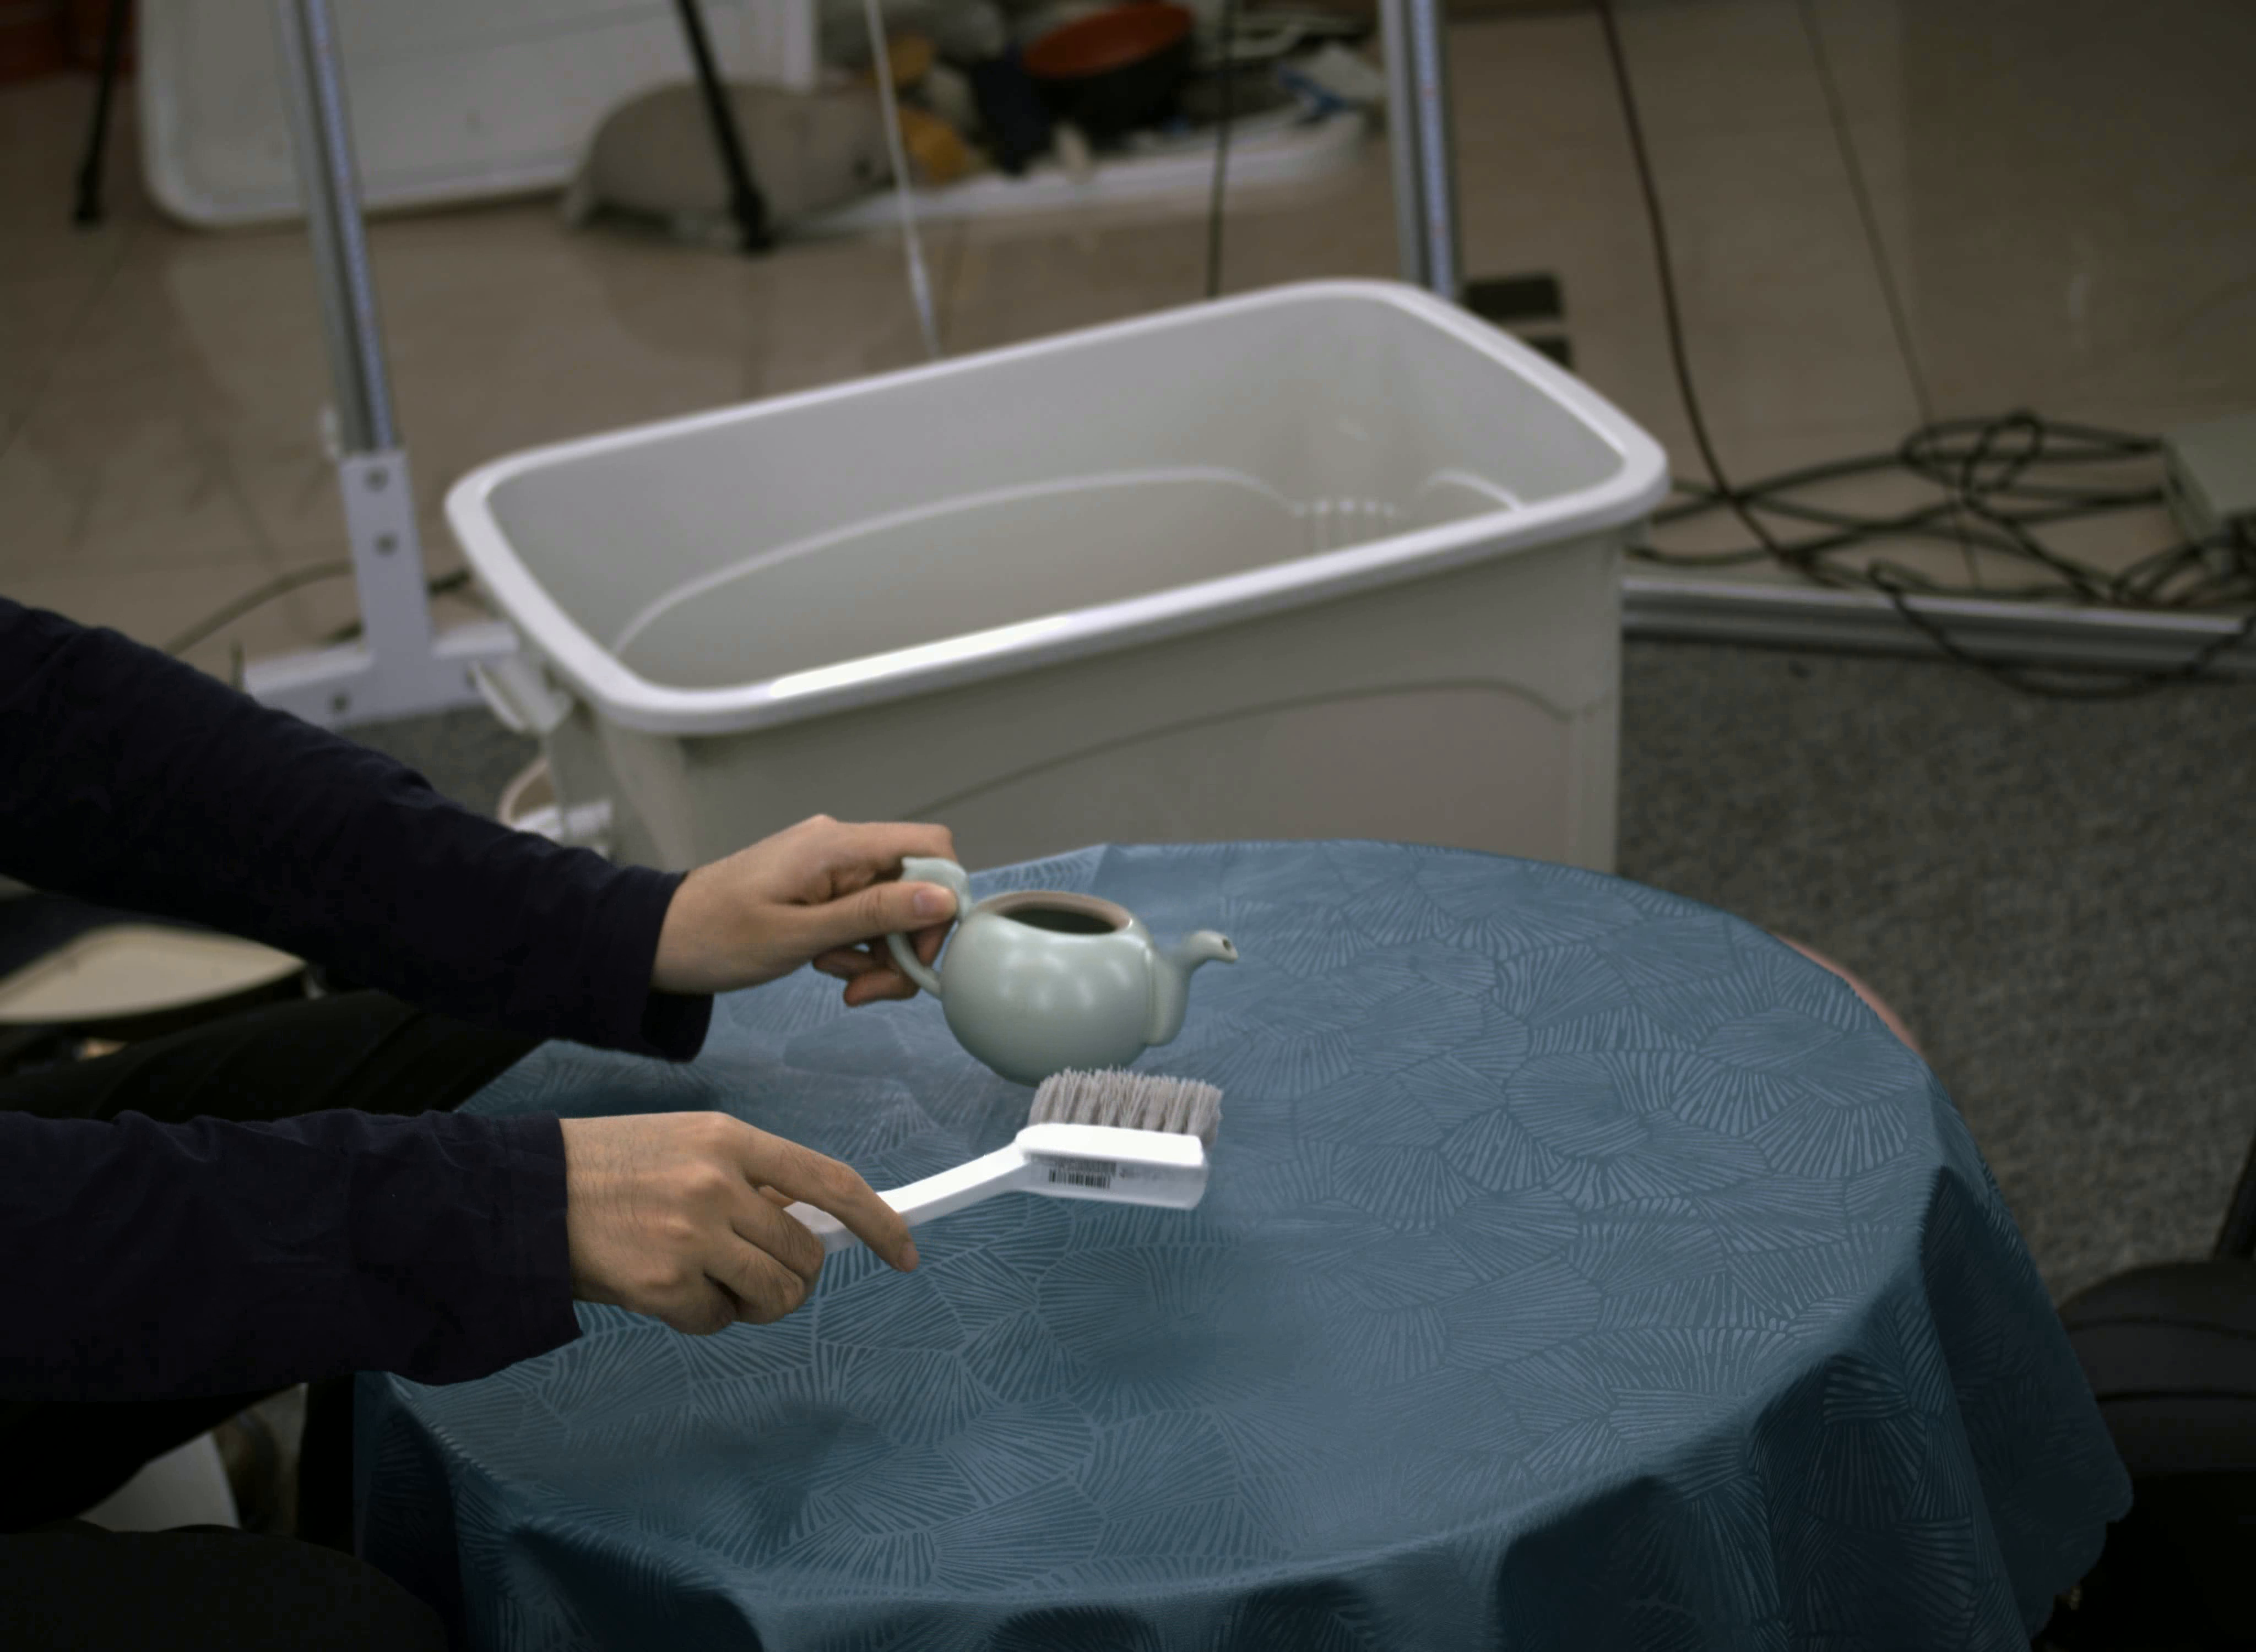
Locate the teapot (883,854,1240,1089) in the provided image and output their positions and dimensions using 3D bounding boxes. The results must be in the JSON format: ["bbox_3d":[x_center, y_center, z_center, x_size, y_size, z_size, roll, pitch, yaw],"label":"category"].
[{"bbox_3d":[-0.029,0.061,2.201,0.143,0.075,0.087,16,19,17],"label":"teapot"}]

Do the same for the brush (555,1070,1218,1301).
[{"bbox_3d":[-0.086,0.125,2.020,0.243,0.035,0.049,-10,63,-4],"label":"brush"}]
